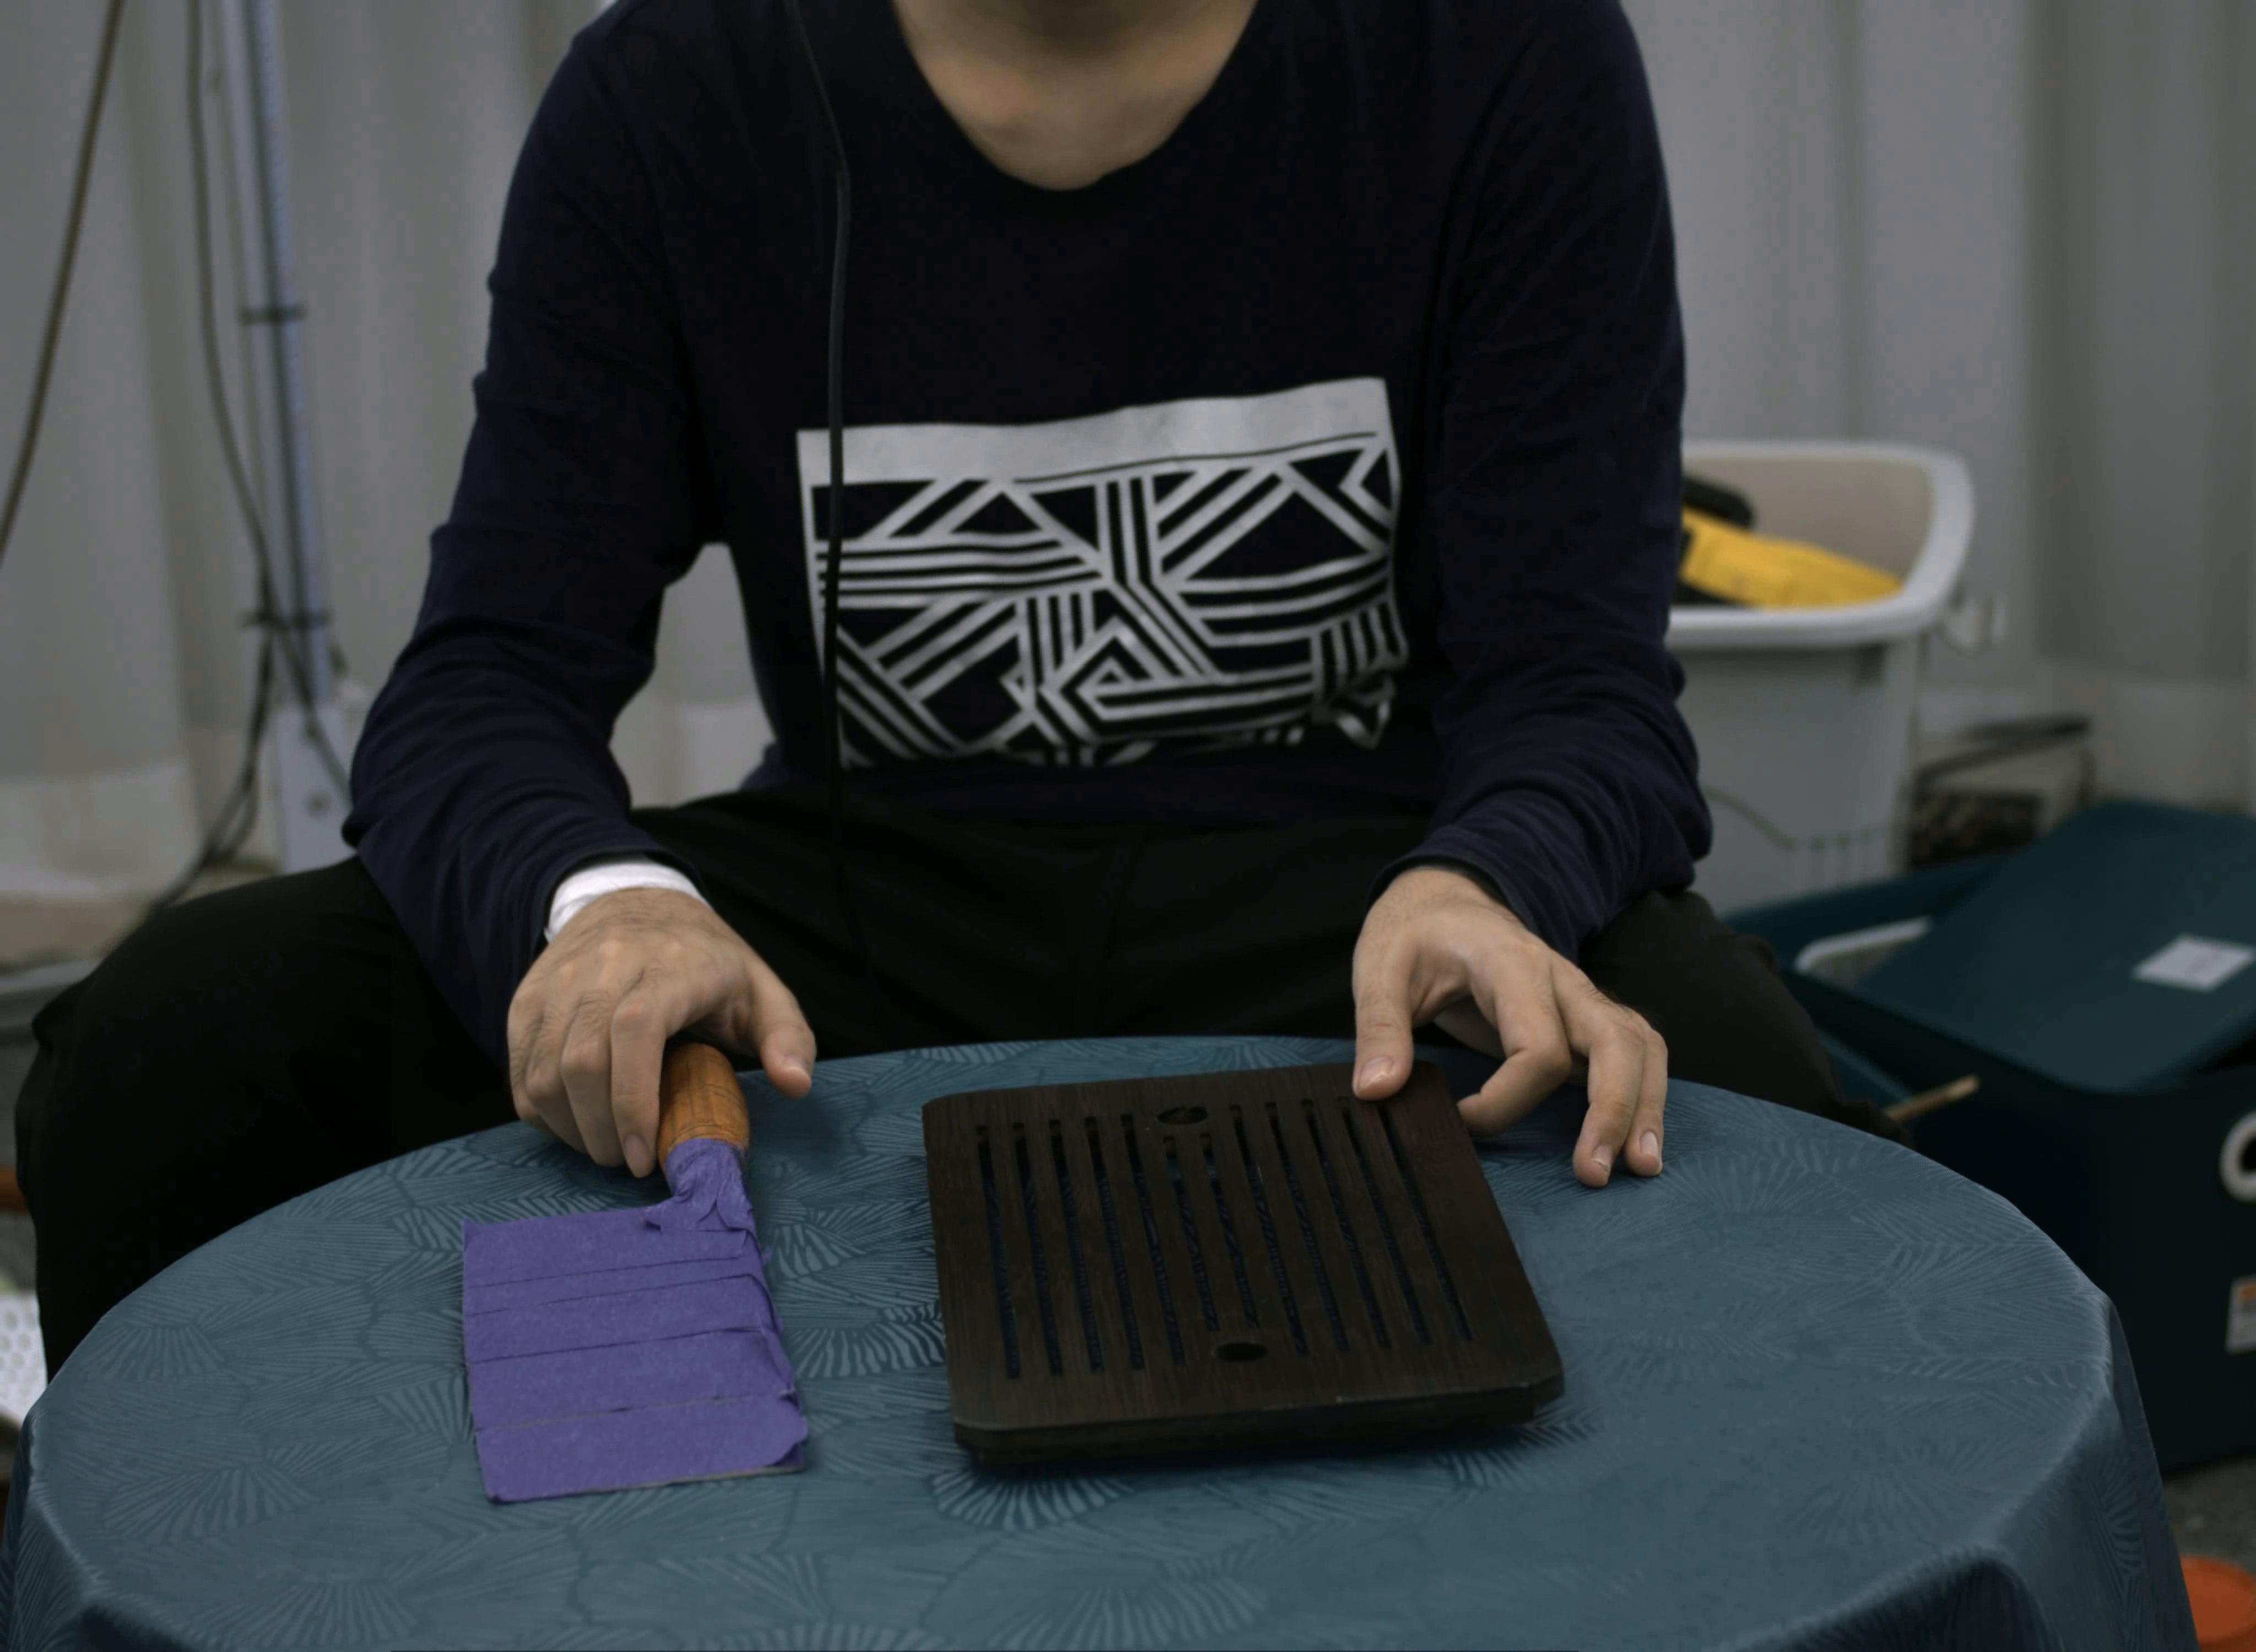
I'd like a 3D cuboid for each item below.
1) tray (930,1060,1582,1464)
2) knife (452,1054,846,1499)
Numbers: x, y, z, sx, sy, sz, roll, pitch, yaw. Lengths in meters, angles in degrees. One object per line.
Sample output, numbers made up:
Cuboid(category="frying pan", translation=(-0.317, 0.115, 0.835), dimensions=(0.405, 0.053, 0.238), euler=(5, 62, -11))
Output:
Cuboid(category="tray", translation=(0.030, 0.127, 1.629), dimensions=(0.169, 0.018, 0.308), euler=(-4, 14, -3))
Cuboid(category="knife", translation=(-0.152, 0.131, 1.635), dimensions=(0.103, 0.032, 0.318), euler=(-5, 15, -8))
